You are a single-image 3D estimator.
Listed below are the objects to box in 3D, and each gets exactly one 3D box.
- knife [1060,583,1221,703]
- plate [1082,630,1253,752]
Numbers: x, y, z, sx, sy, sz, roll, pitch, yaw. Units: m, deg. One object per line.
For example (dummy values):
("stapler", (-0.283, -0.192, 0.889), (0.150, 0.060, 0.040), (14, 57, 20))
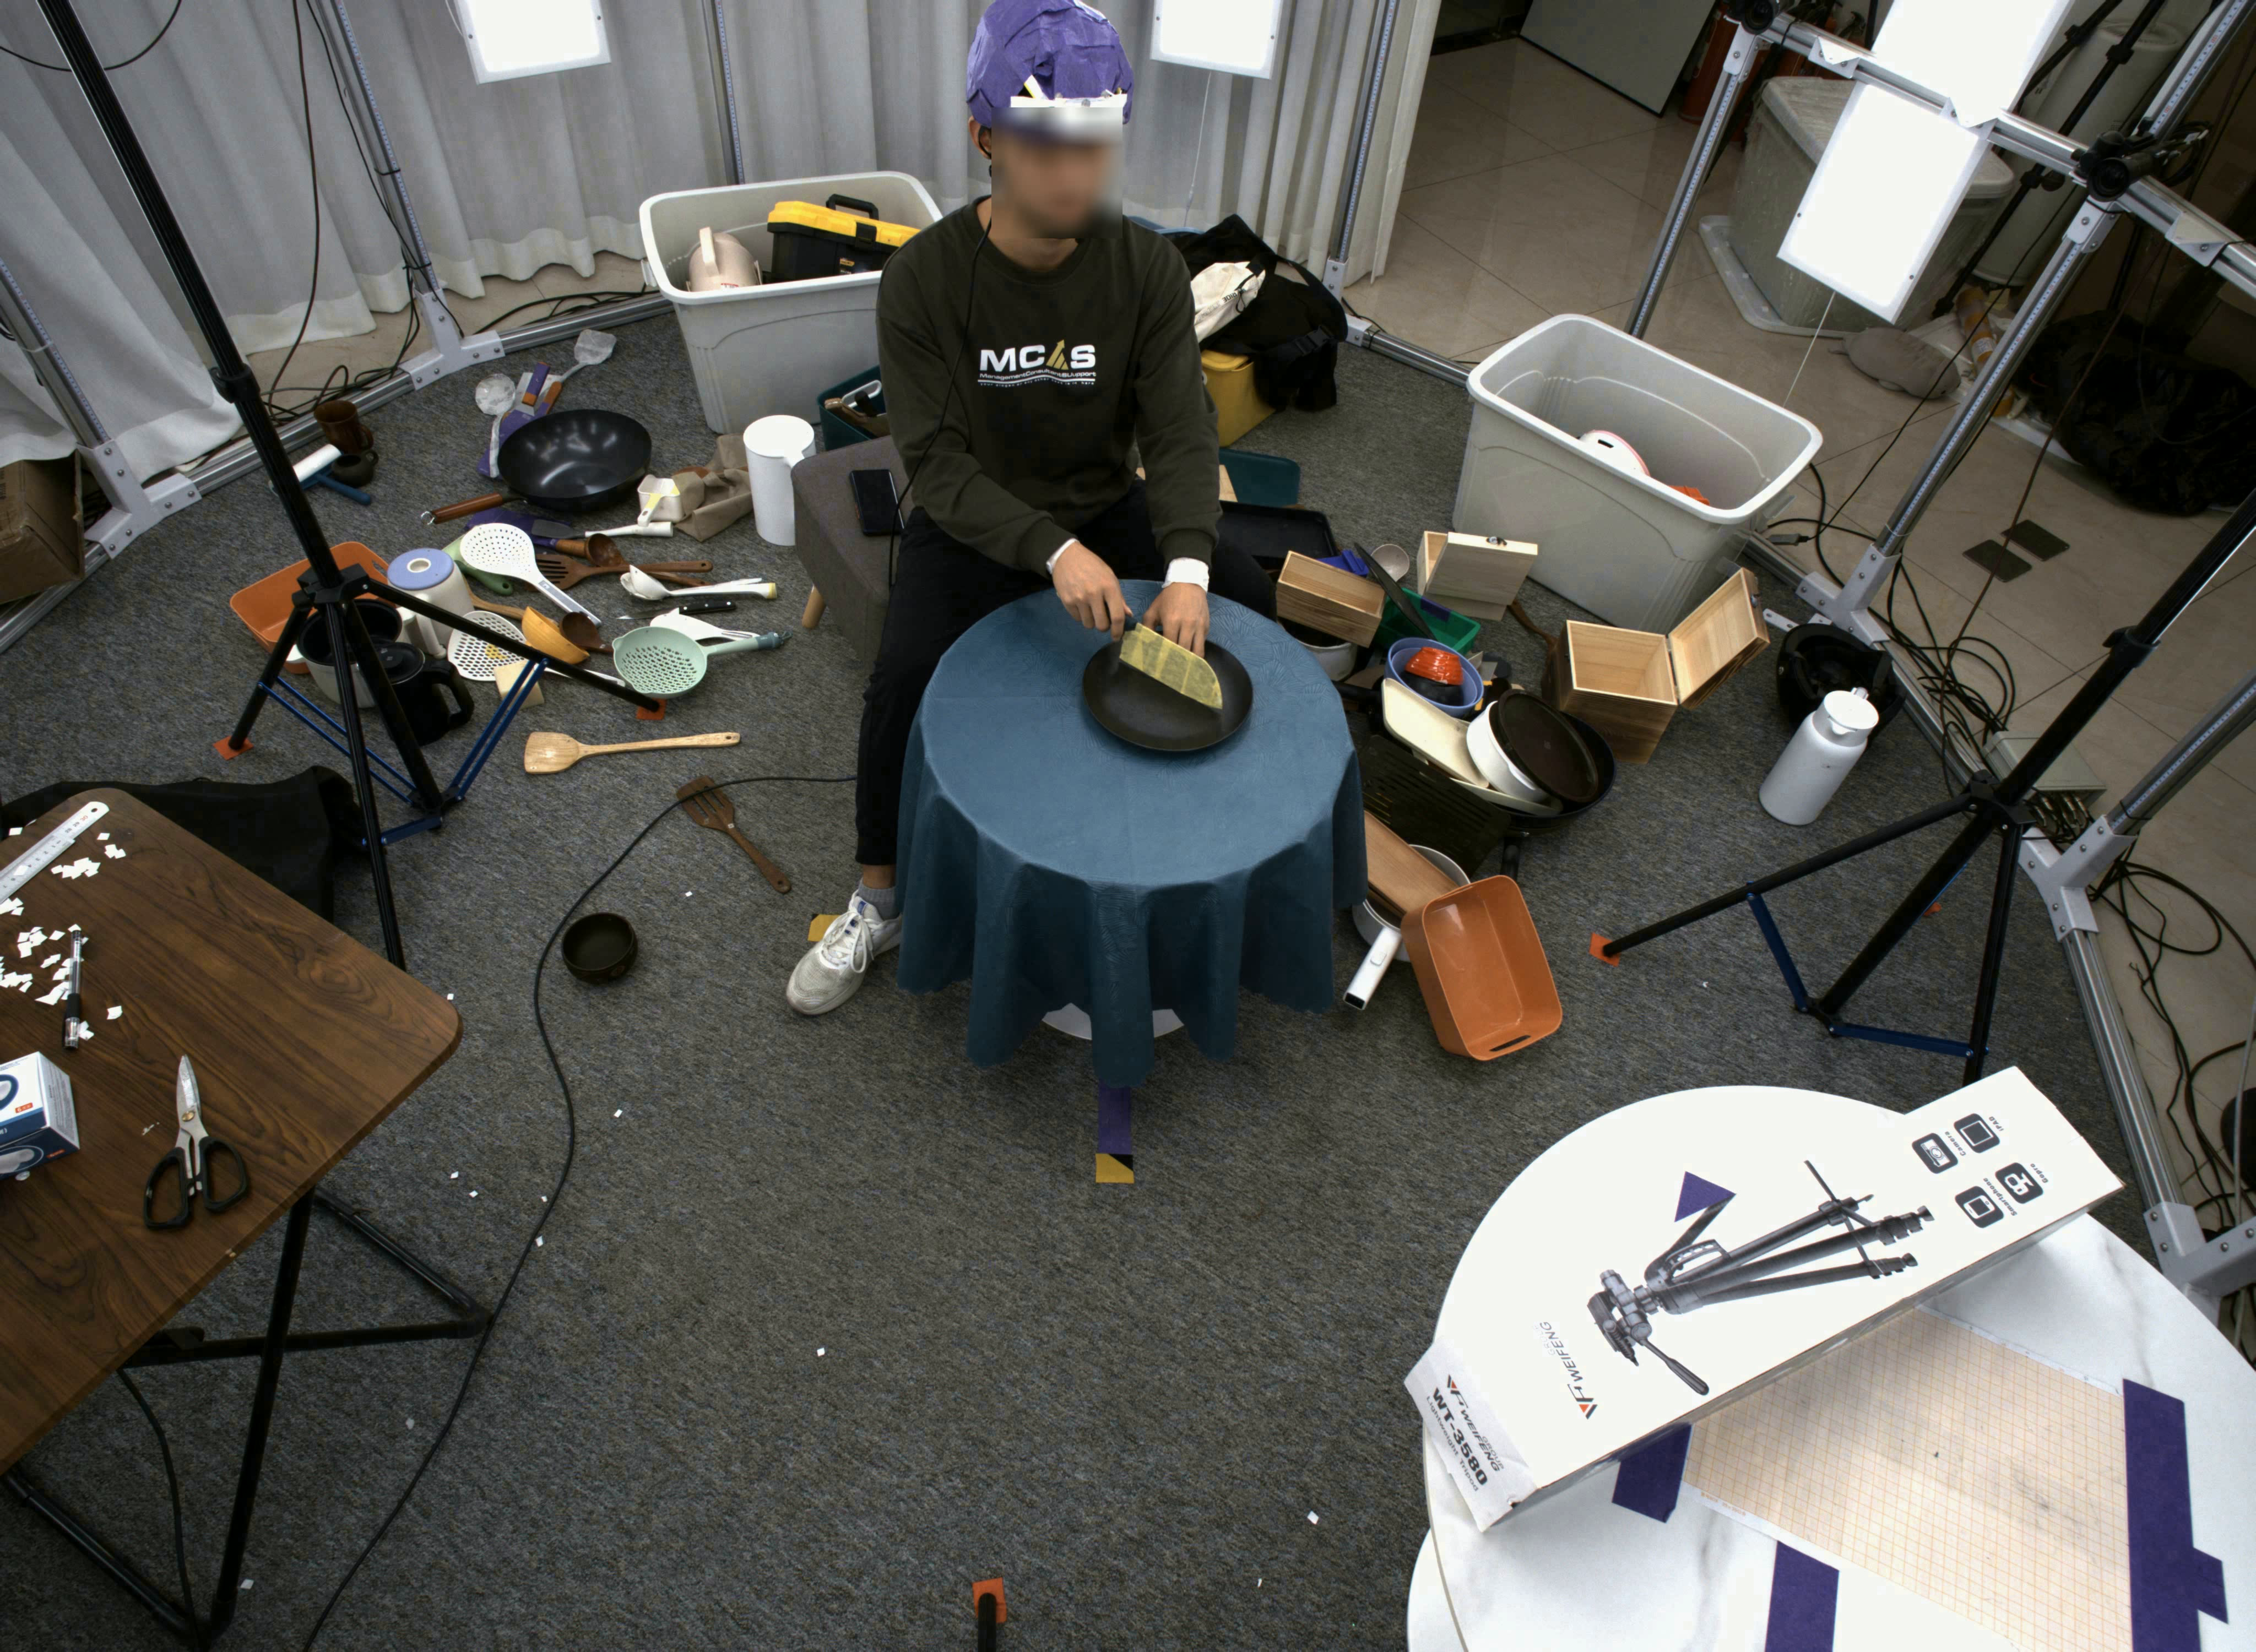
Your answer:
("knife", (0.016, -0.260, 1.829), (0.292, 0.079, 0.027), (35, 44, 18))
("plate", (0.056, -0.189, 1.820), (0.244, 0.023, 0.250), (2, 49, -2))
